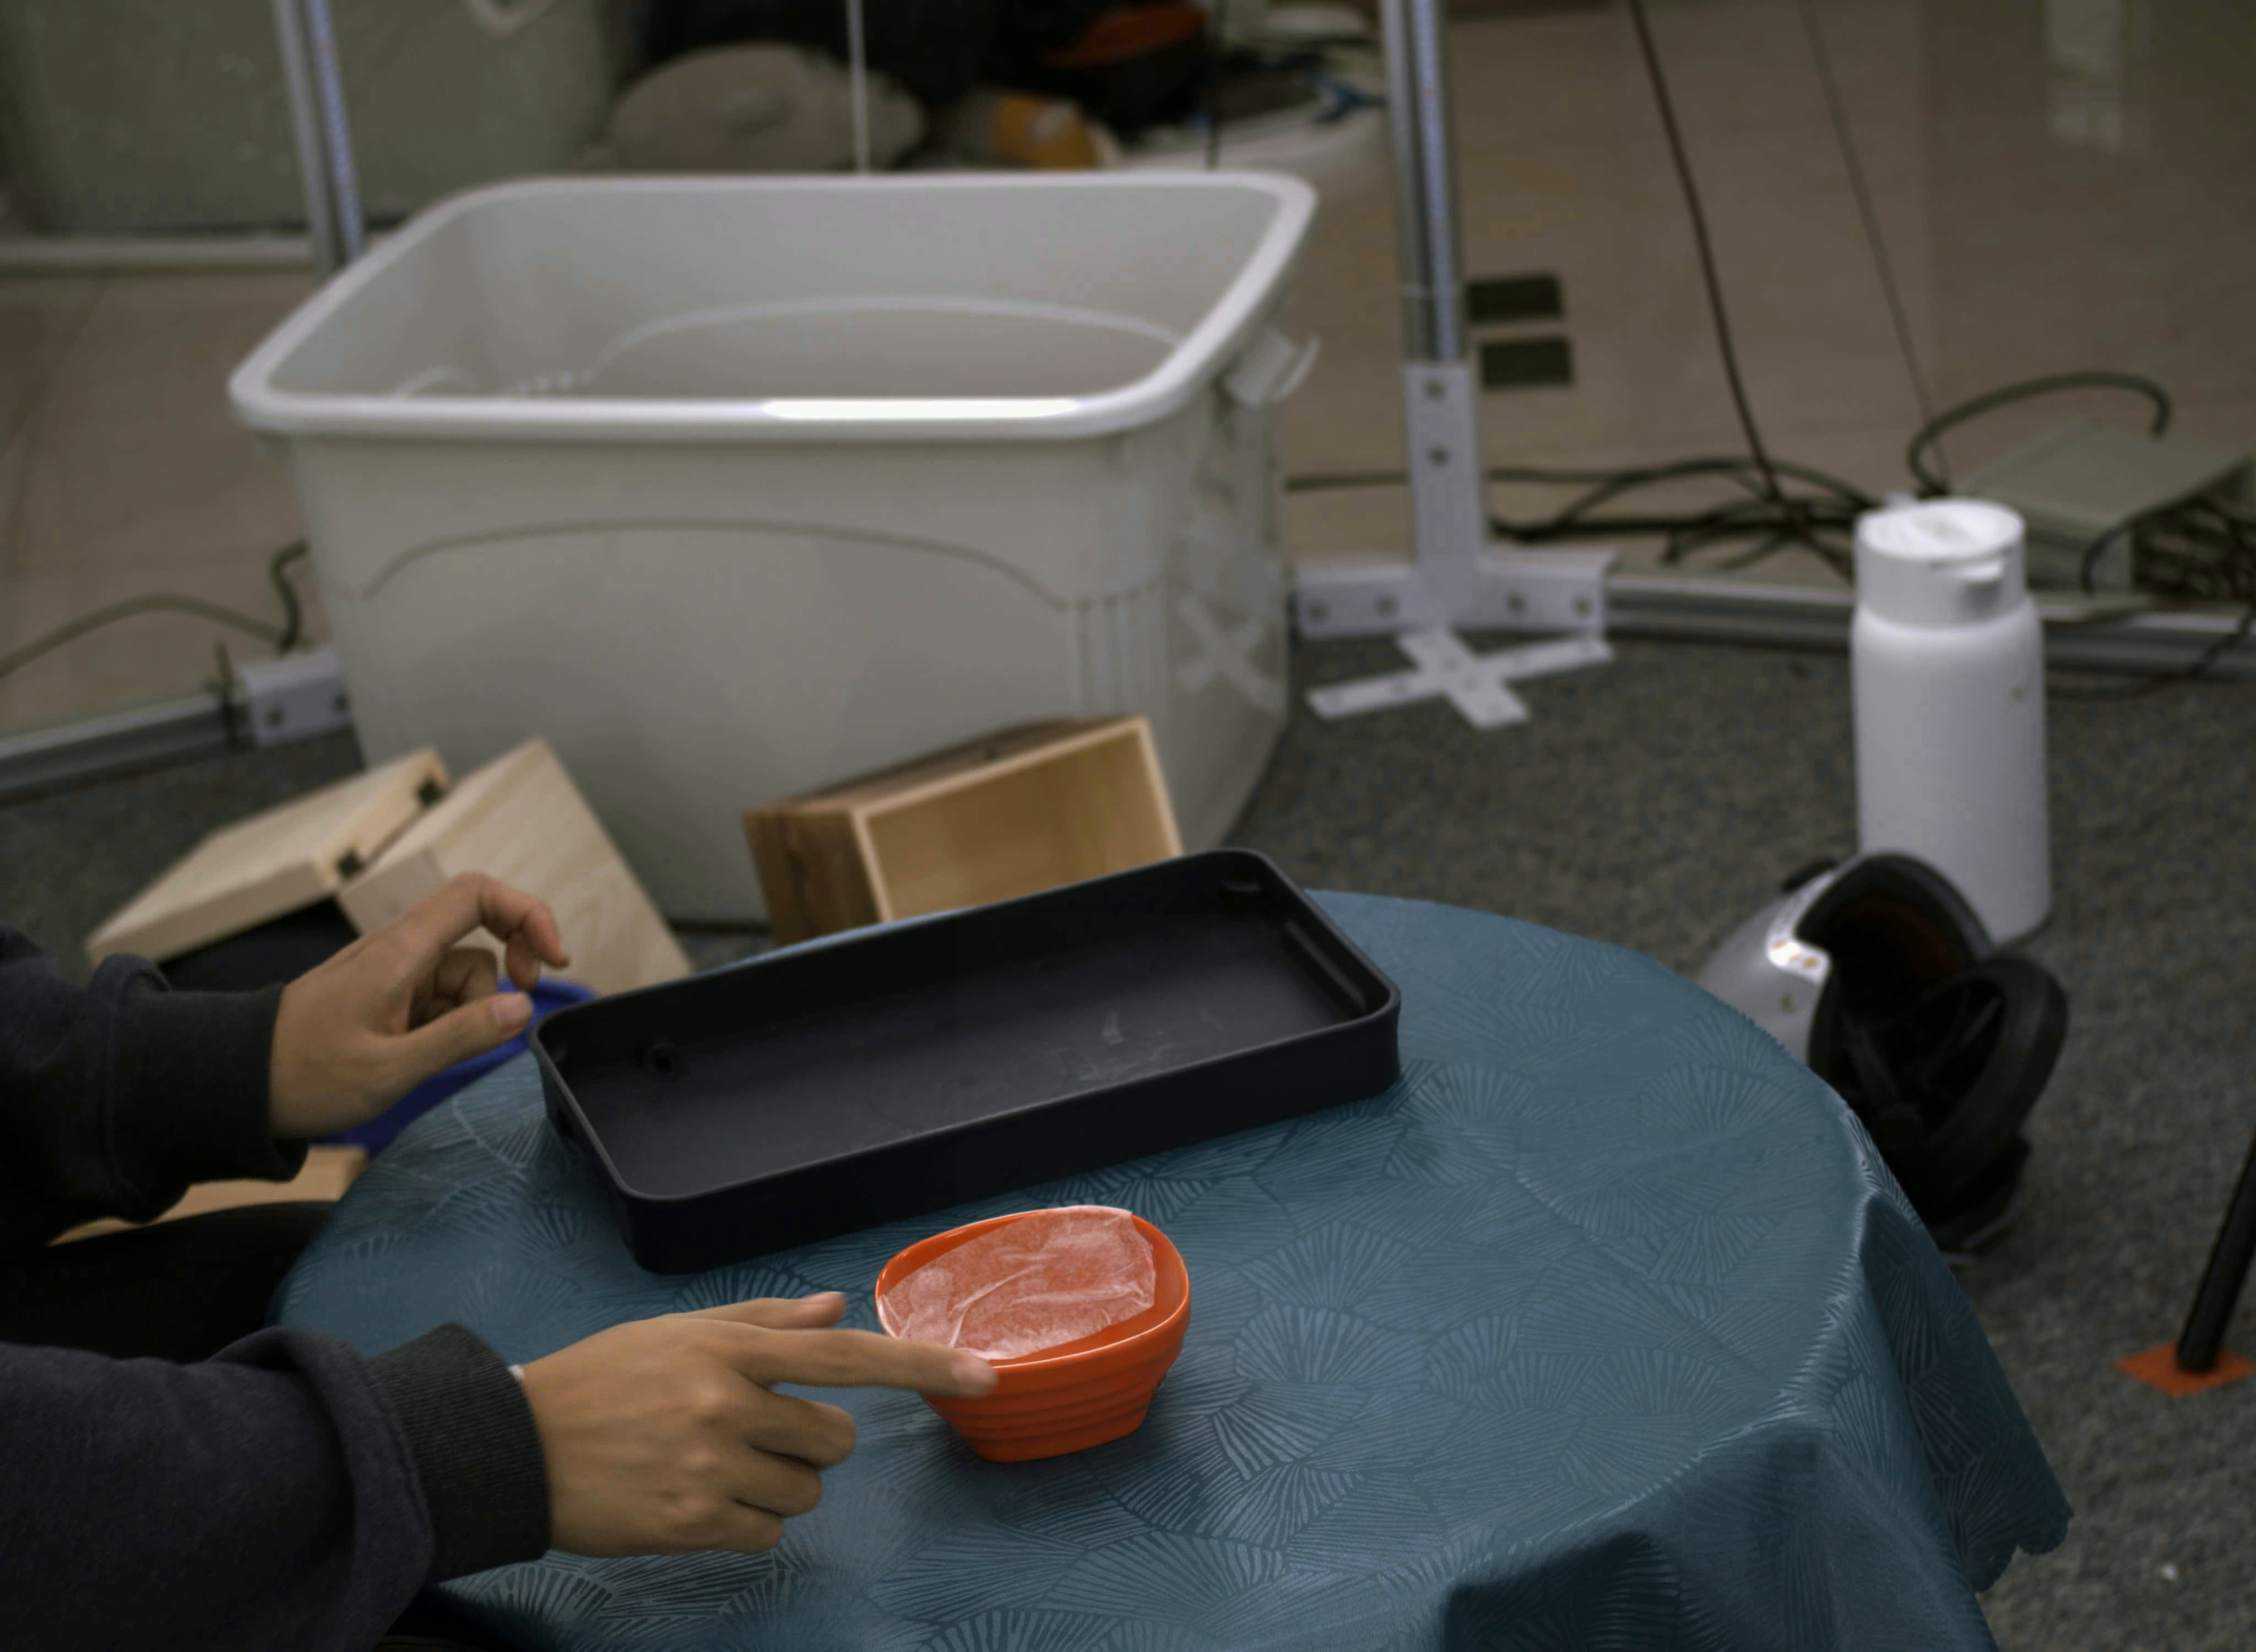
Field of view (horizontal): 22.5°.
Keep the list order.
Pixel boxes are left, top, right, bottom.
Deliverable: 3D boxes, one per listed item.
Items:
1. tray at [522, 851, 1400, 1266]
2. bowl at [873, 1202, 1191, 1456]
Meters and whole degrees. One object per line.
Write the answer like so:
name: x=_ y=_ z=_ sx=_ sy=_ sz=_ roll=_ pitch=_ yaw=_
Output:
tray: x=-0.066 y=0.087 z=2.226 sx=0.317 sy=0.037 sz=0.182 roll=-13 pitch=25 yaw=-16
bowl: x=-0.032 y=0.182 z=1.998 sx=0.119 sy=0.052 sz=0.117 roll=-4 pitch=26 yaw=2
